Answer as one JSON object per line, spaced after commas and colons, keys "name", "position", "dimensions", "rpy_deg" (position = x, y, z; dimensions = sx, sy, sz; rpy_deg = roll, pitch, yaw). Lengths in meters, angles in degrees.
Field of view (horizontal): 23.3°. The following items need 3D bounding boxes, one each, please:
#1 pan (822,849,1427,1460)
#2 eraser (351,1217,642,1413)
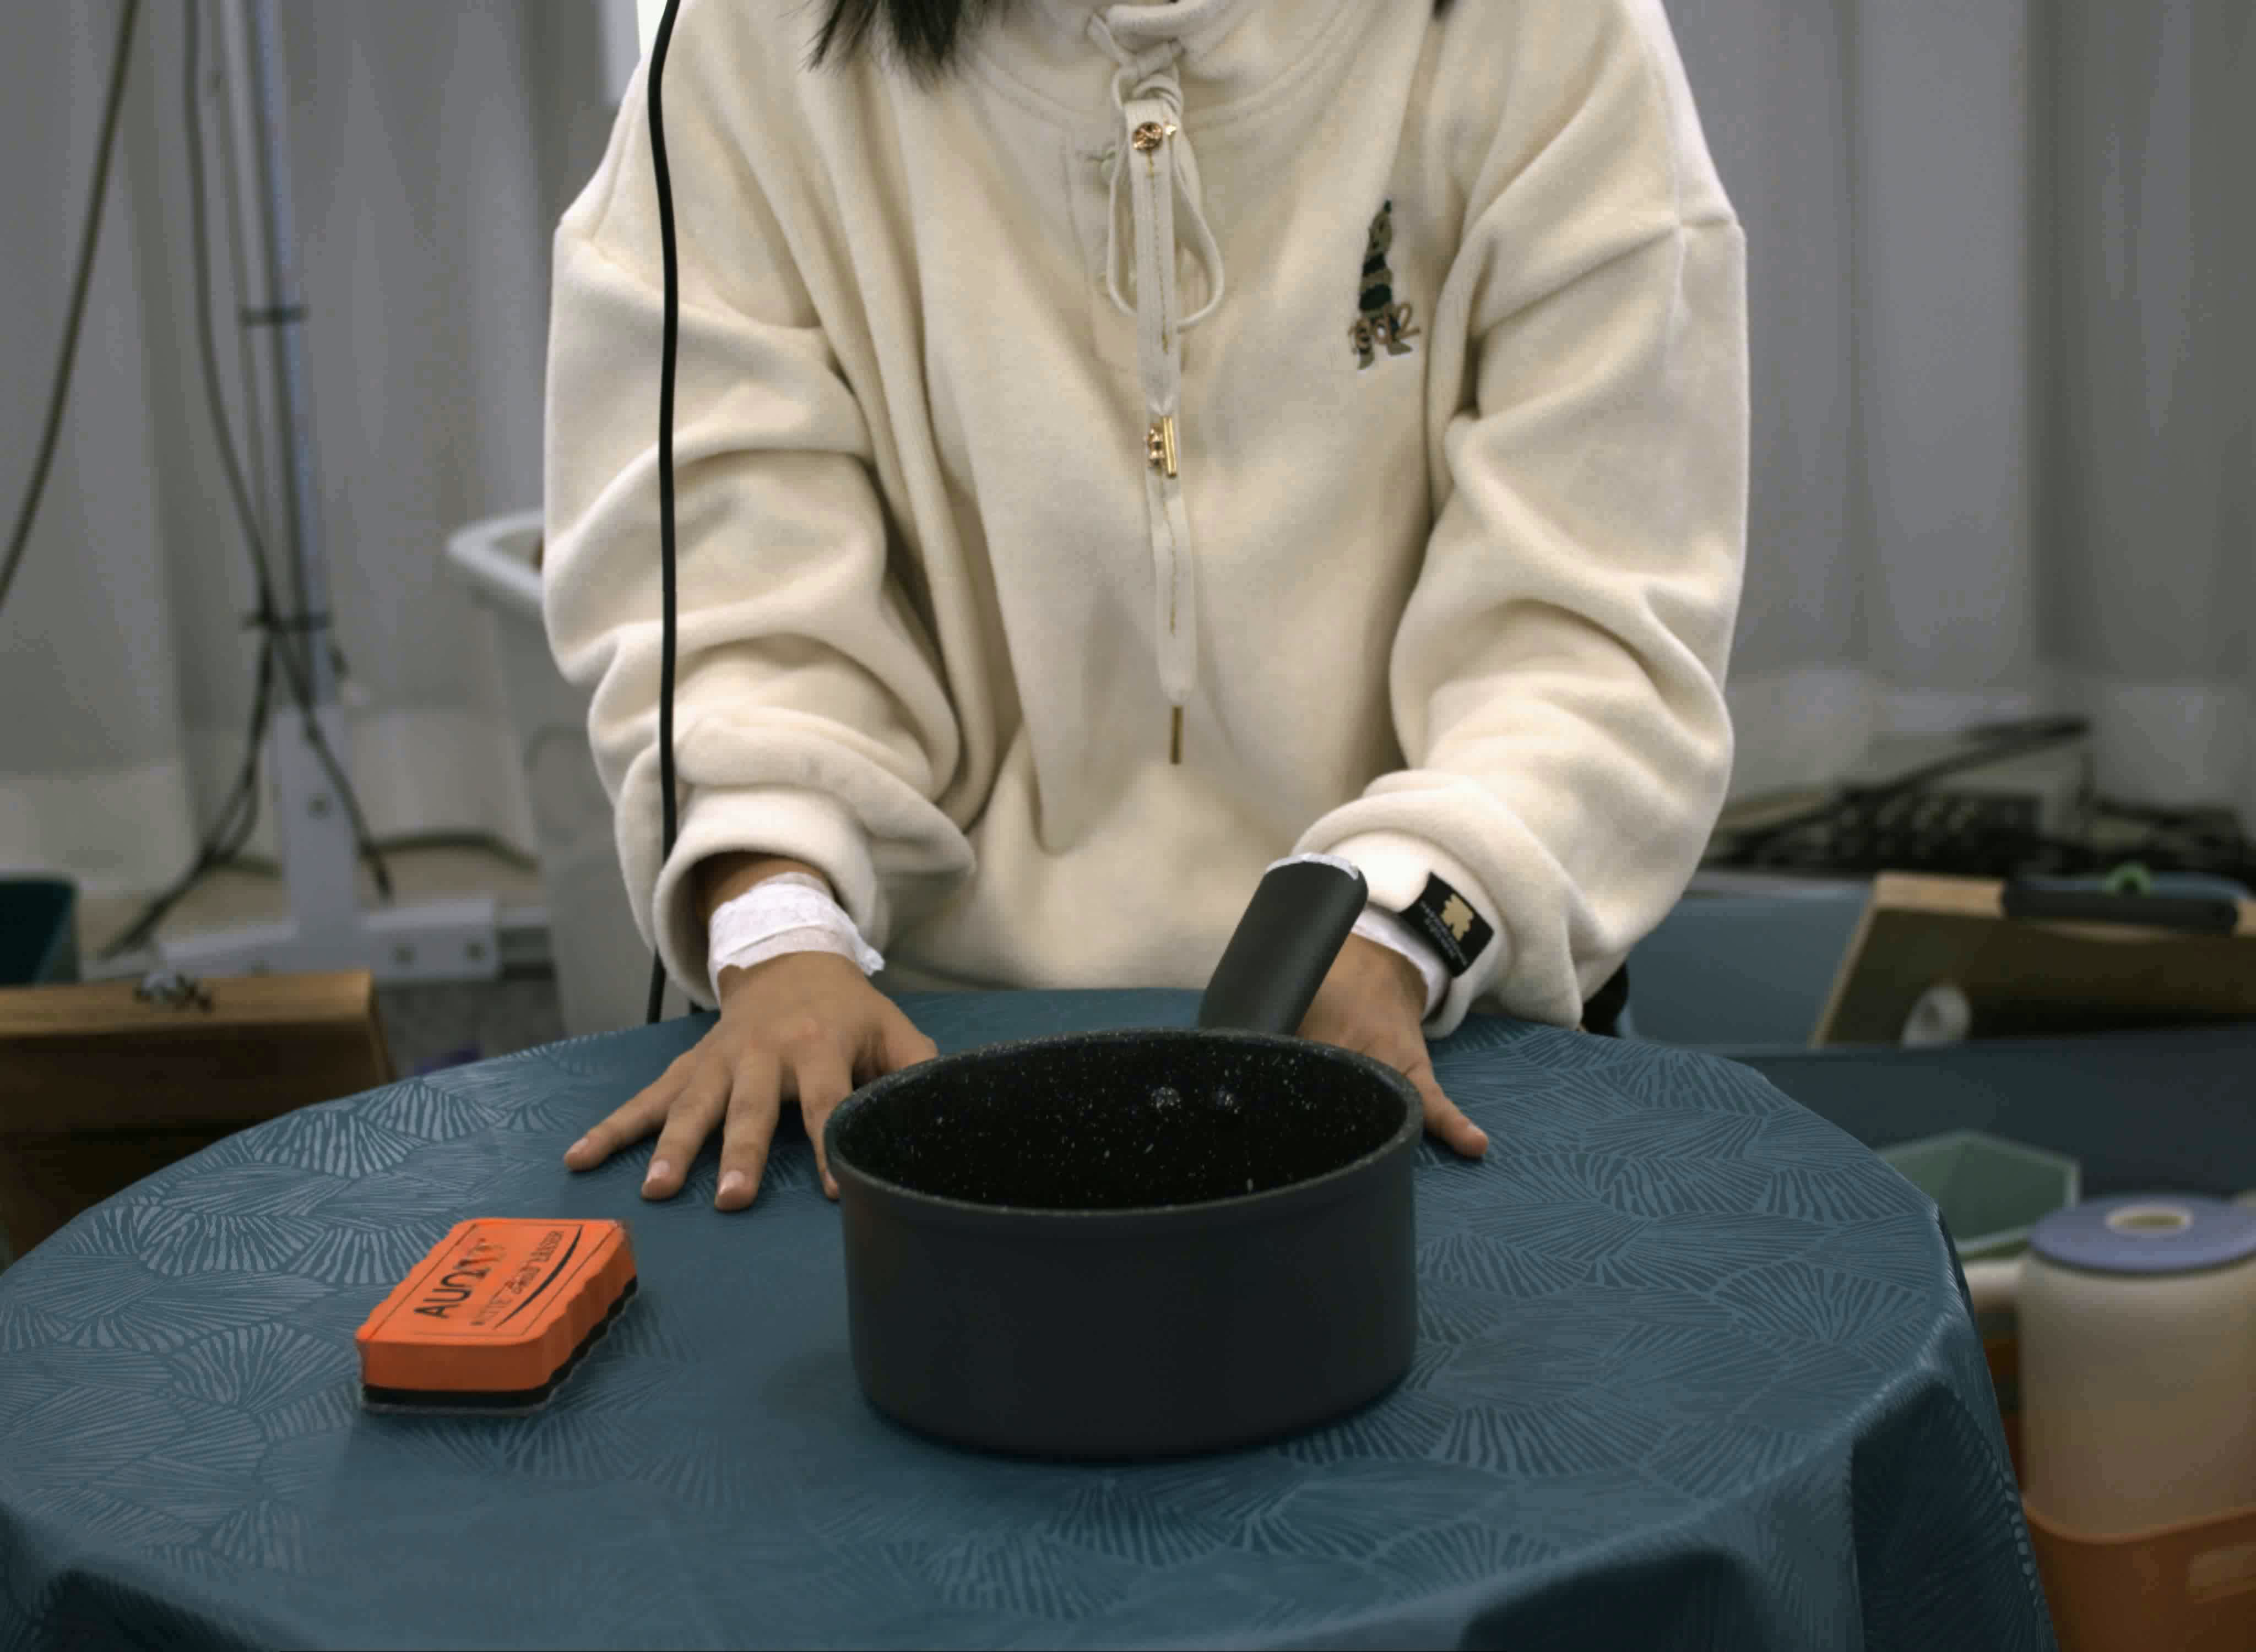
{"name": "pan", "position": [0.024, 0.094, 1.627], "dimensions": [0.172, 0.086, 0.330], "rpy_deg": [2, 17, 18]}
{"name": "eraser", "position": [-0.184, 0.142, 1.599], "dimensions": [0.059, 0.023, 0.108], "rpy_deg": [0, 15, 13]}
